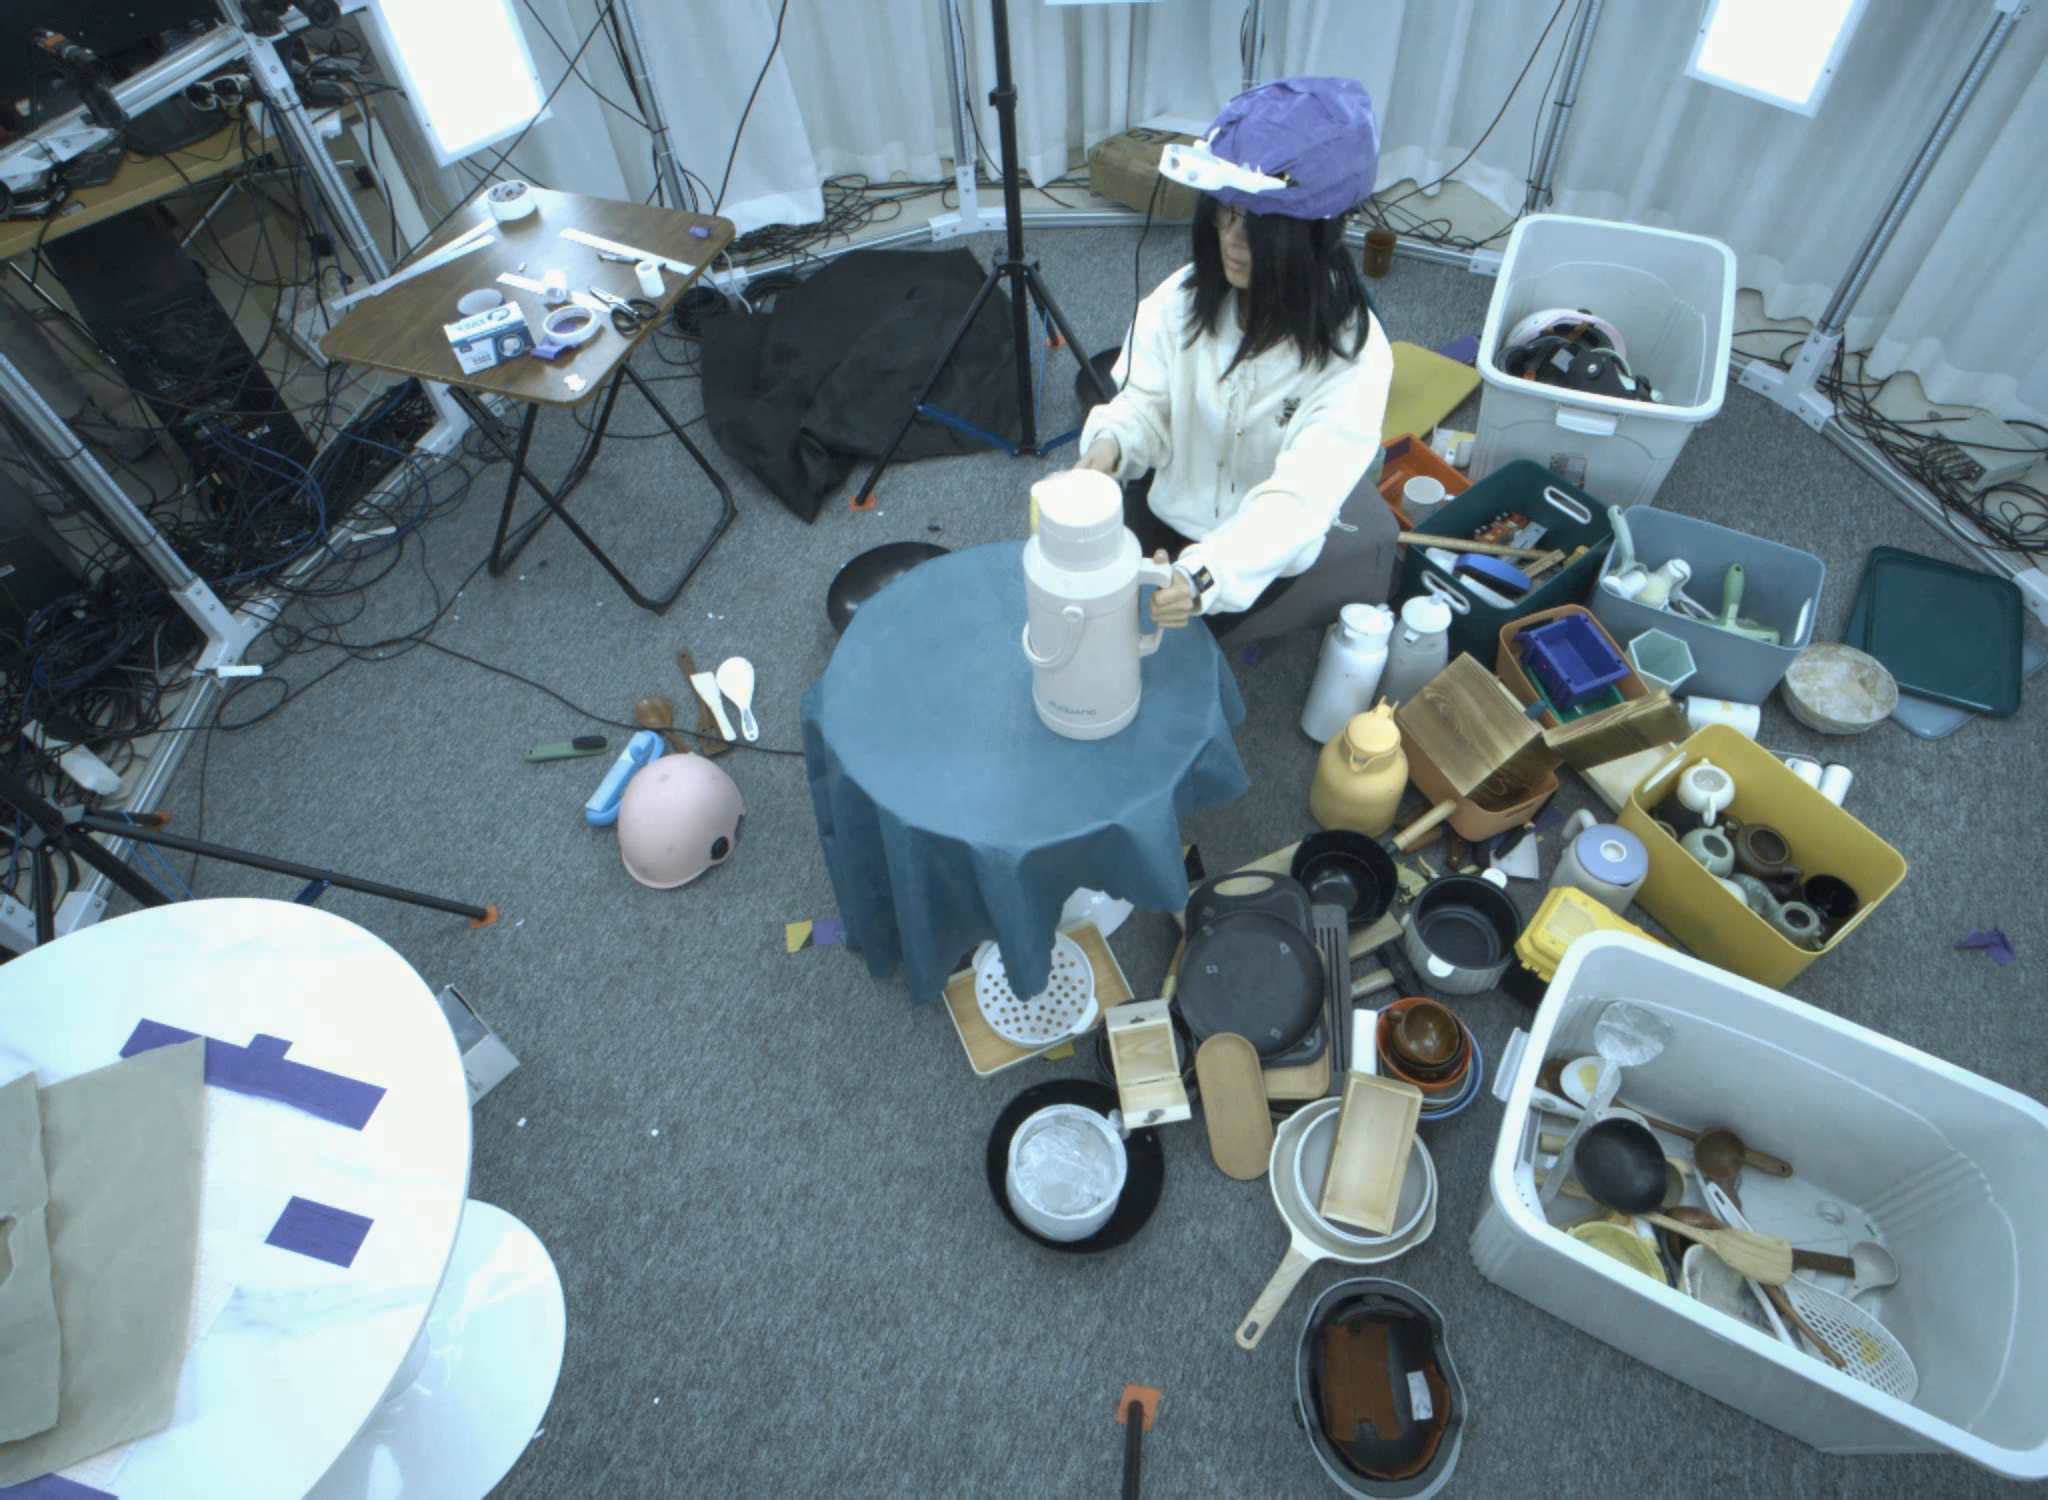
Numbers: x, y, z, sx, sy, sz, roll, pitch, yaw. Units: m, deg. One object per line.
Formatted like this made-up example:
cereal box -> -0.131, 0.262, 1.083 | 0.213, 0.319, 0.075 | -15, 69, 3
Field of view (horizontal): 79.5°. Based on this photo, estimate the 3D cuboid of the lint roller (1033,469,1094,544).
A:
lint roller -> 0.056, -0.352, 1.775 | 0.051, 0.176, 0.191 | 11, 49, 9

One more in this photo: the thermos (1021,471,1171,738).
thermos -> 0.094, -0.192, 1.676 | 0.206, 0.411, 0.174 | 6, 55, 8
